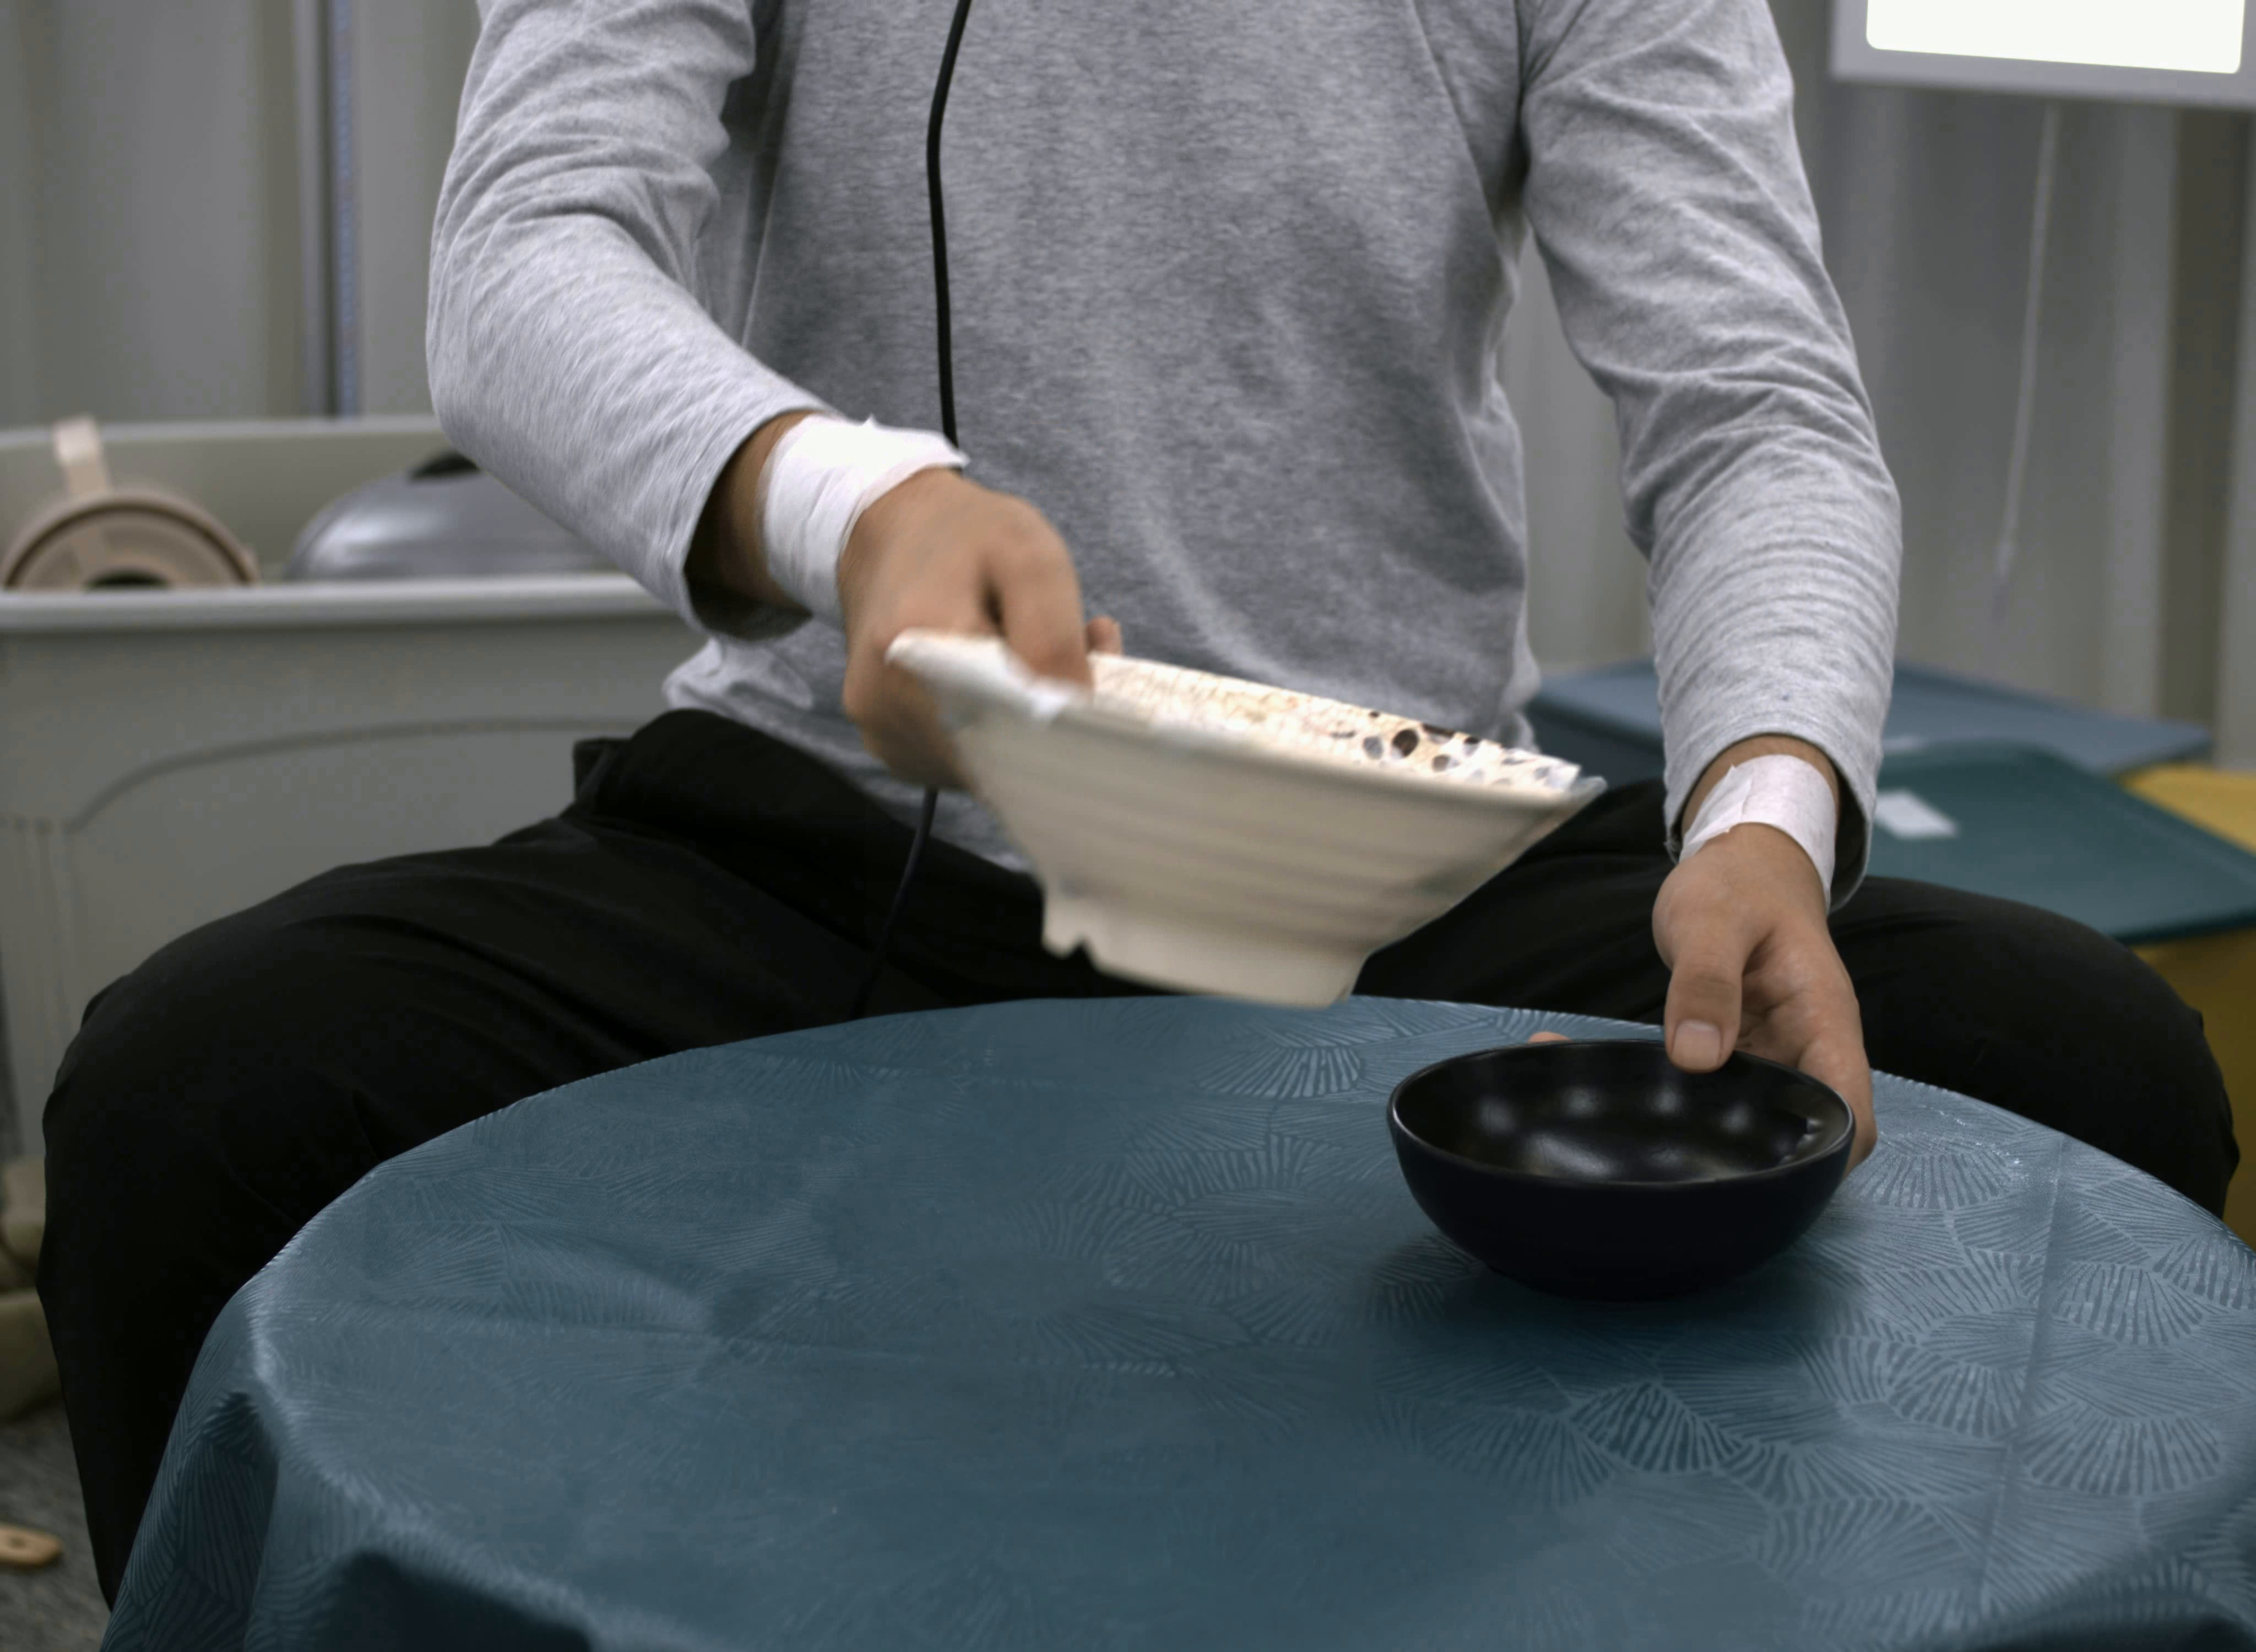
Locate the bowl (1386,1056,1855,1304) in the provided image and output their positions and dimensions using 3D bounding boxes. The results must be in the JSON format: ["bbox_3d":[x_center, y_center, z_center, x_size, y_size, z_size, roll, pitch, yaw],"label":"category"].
[{"bbox_3d":[0.145,0.108,1.561,0.139,0.050,0.139,2,12,0],"label":"bowl"}]

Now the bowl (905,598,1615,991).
[{"bbox_3d":[0.028,-0.002,1.464,0.203,0.078,0.203,14,4,-1],"label":"bowl"}]
